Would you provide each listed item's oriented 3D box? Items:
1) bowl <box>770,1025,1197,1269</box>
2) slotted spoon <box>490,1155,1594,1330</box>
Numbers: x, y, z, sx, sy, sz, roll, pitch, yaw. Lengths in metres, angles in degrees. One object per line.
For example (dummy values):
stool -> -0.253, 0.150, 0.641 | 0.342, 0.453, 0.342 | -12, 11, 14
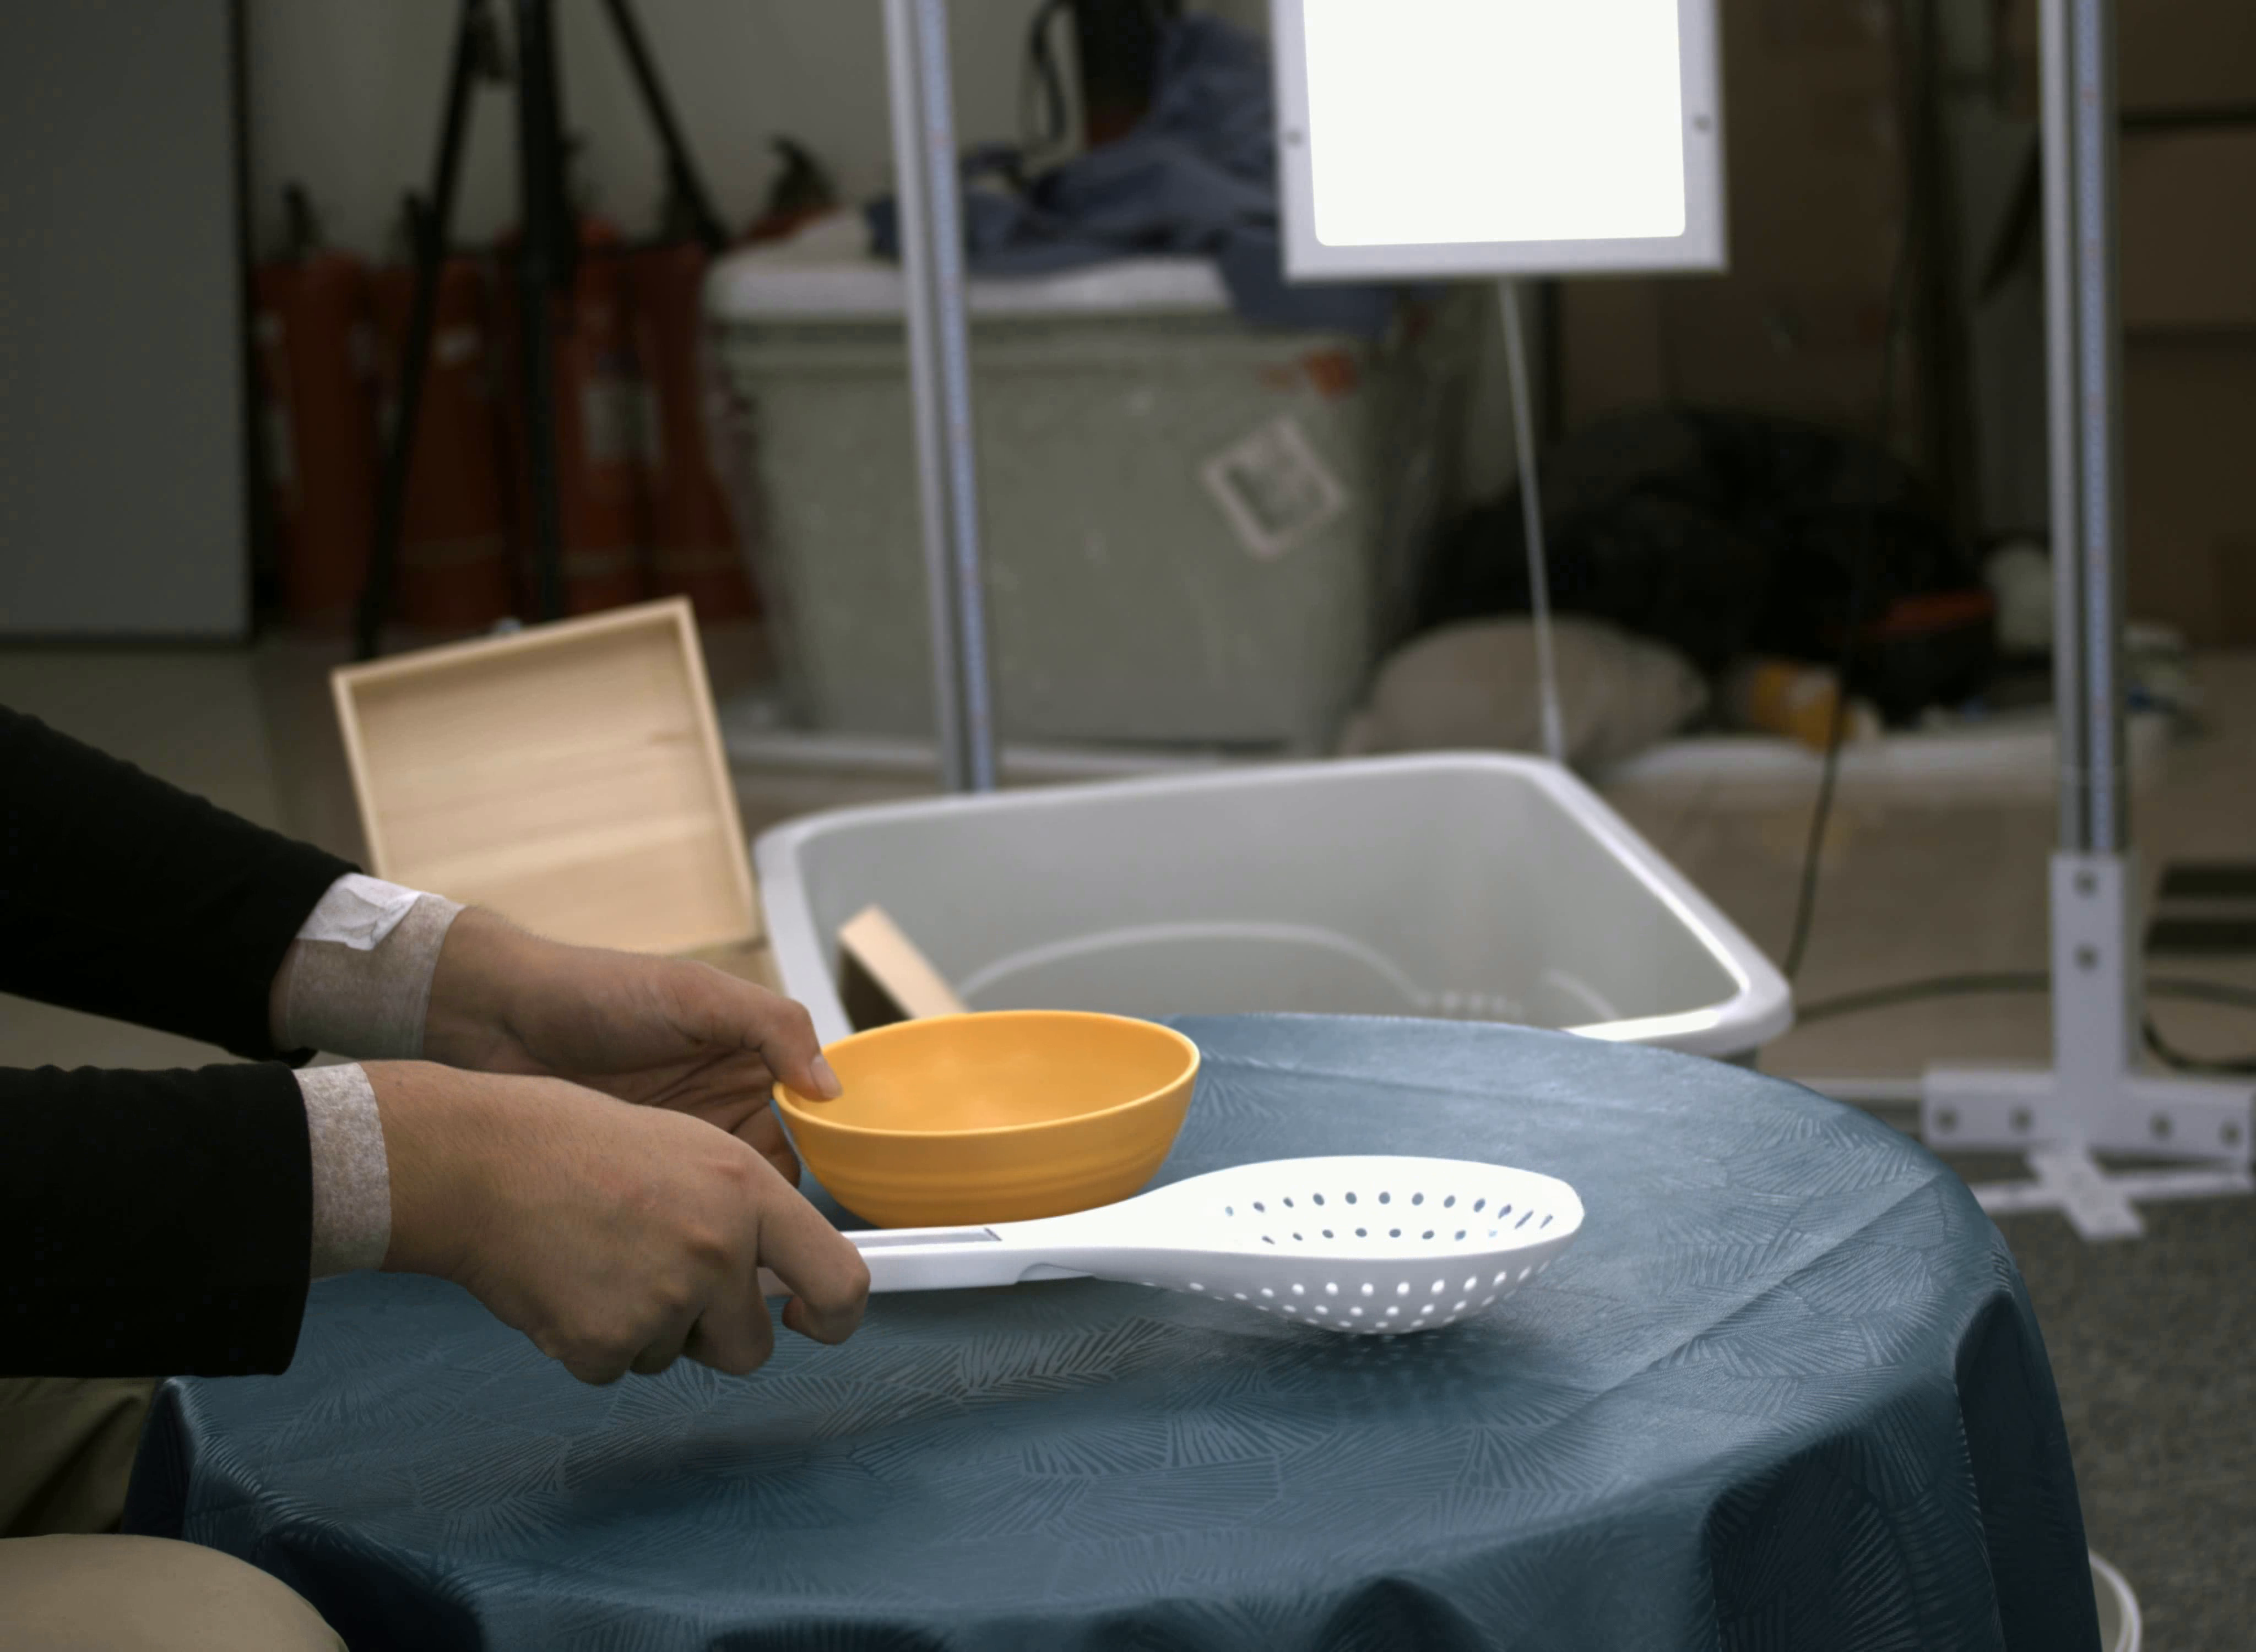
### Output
bowl -> -0.047, 0.112, 1.859 | 0.145, 0.060, 0.145 | -4, 12, -1
slotted spoon -> -0.024, 0.131, 1.709 | 0.345, 0.046, 0.137 | 2, 7, -14
